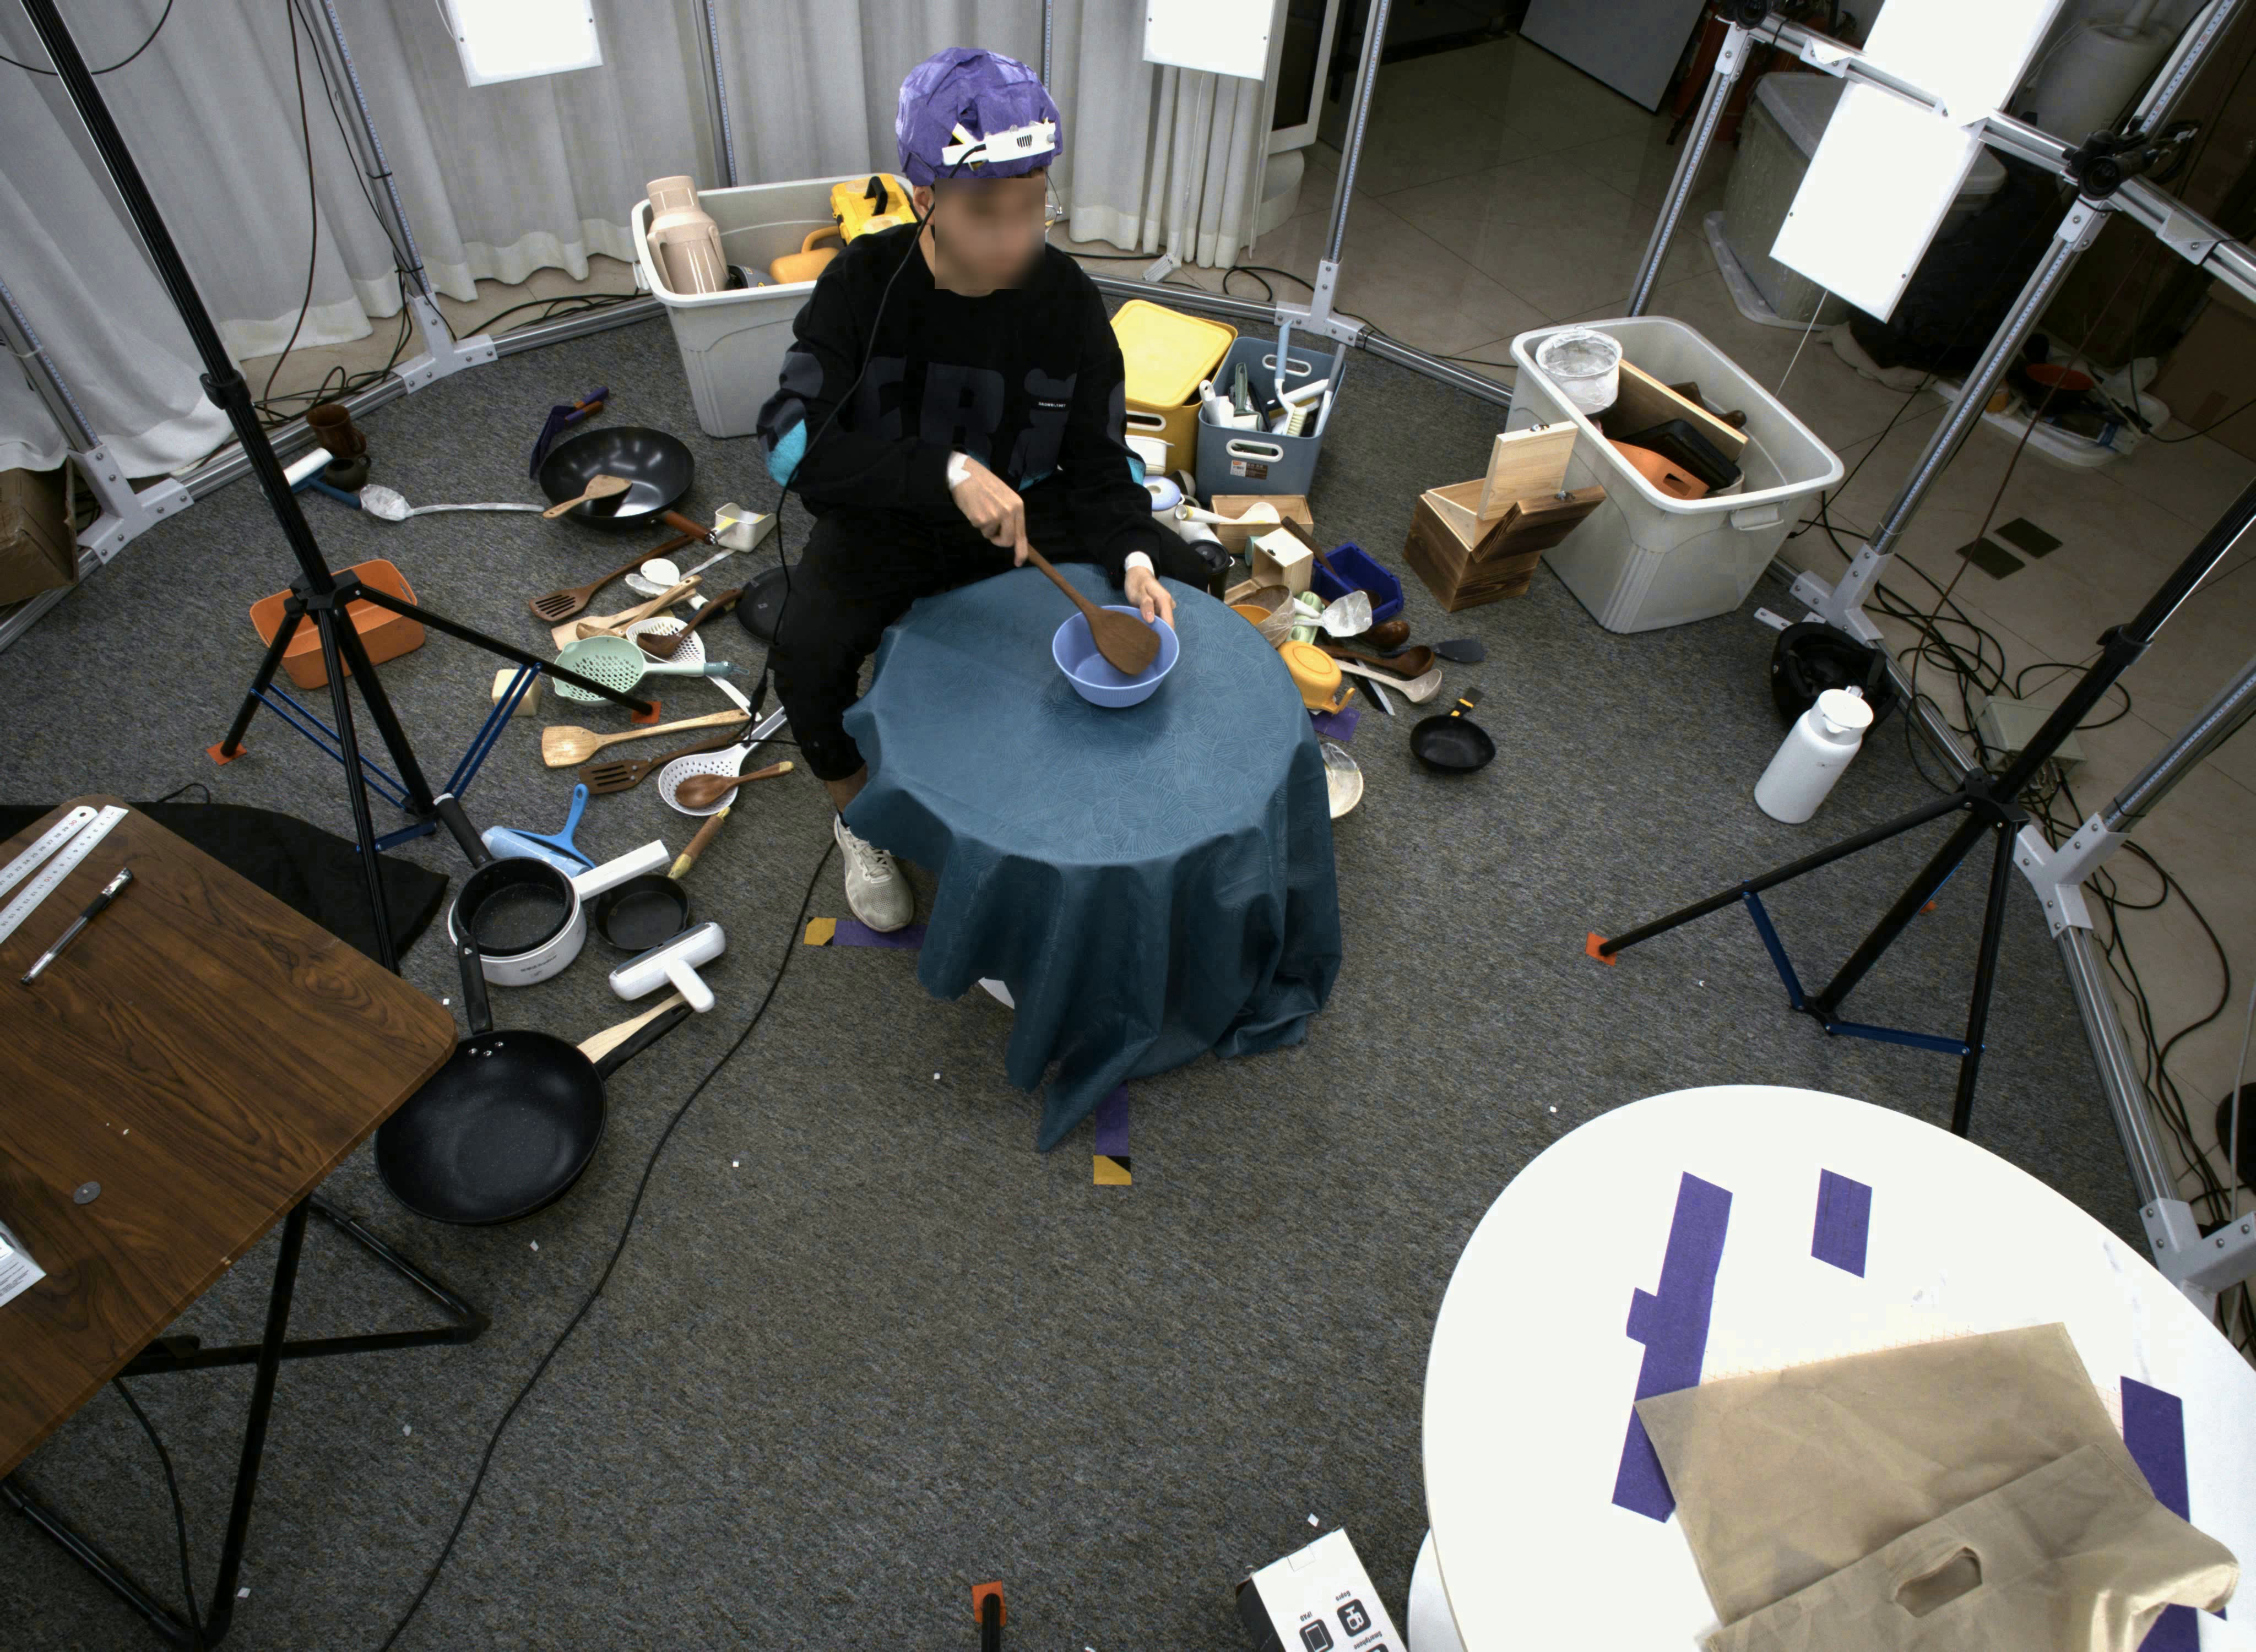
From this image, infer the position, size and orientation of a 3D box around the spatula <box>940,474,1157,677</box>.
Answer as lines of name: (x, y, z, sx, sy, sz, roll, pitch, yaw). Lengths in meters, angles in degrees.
spatula: (-0.114, -0.357, 1.811, 0.384, 0.015, 0.097, 42, 54, -8)

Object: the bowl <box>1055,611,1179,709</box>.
bowl: (-0.016, -0.229, 1.831, 0.176, 0.068, 0.180, 0, 46, -1)
